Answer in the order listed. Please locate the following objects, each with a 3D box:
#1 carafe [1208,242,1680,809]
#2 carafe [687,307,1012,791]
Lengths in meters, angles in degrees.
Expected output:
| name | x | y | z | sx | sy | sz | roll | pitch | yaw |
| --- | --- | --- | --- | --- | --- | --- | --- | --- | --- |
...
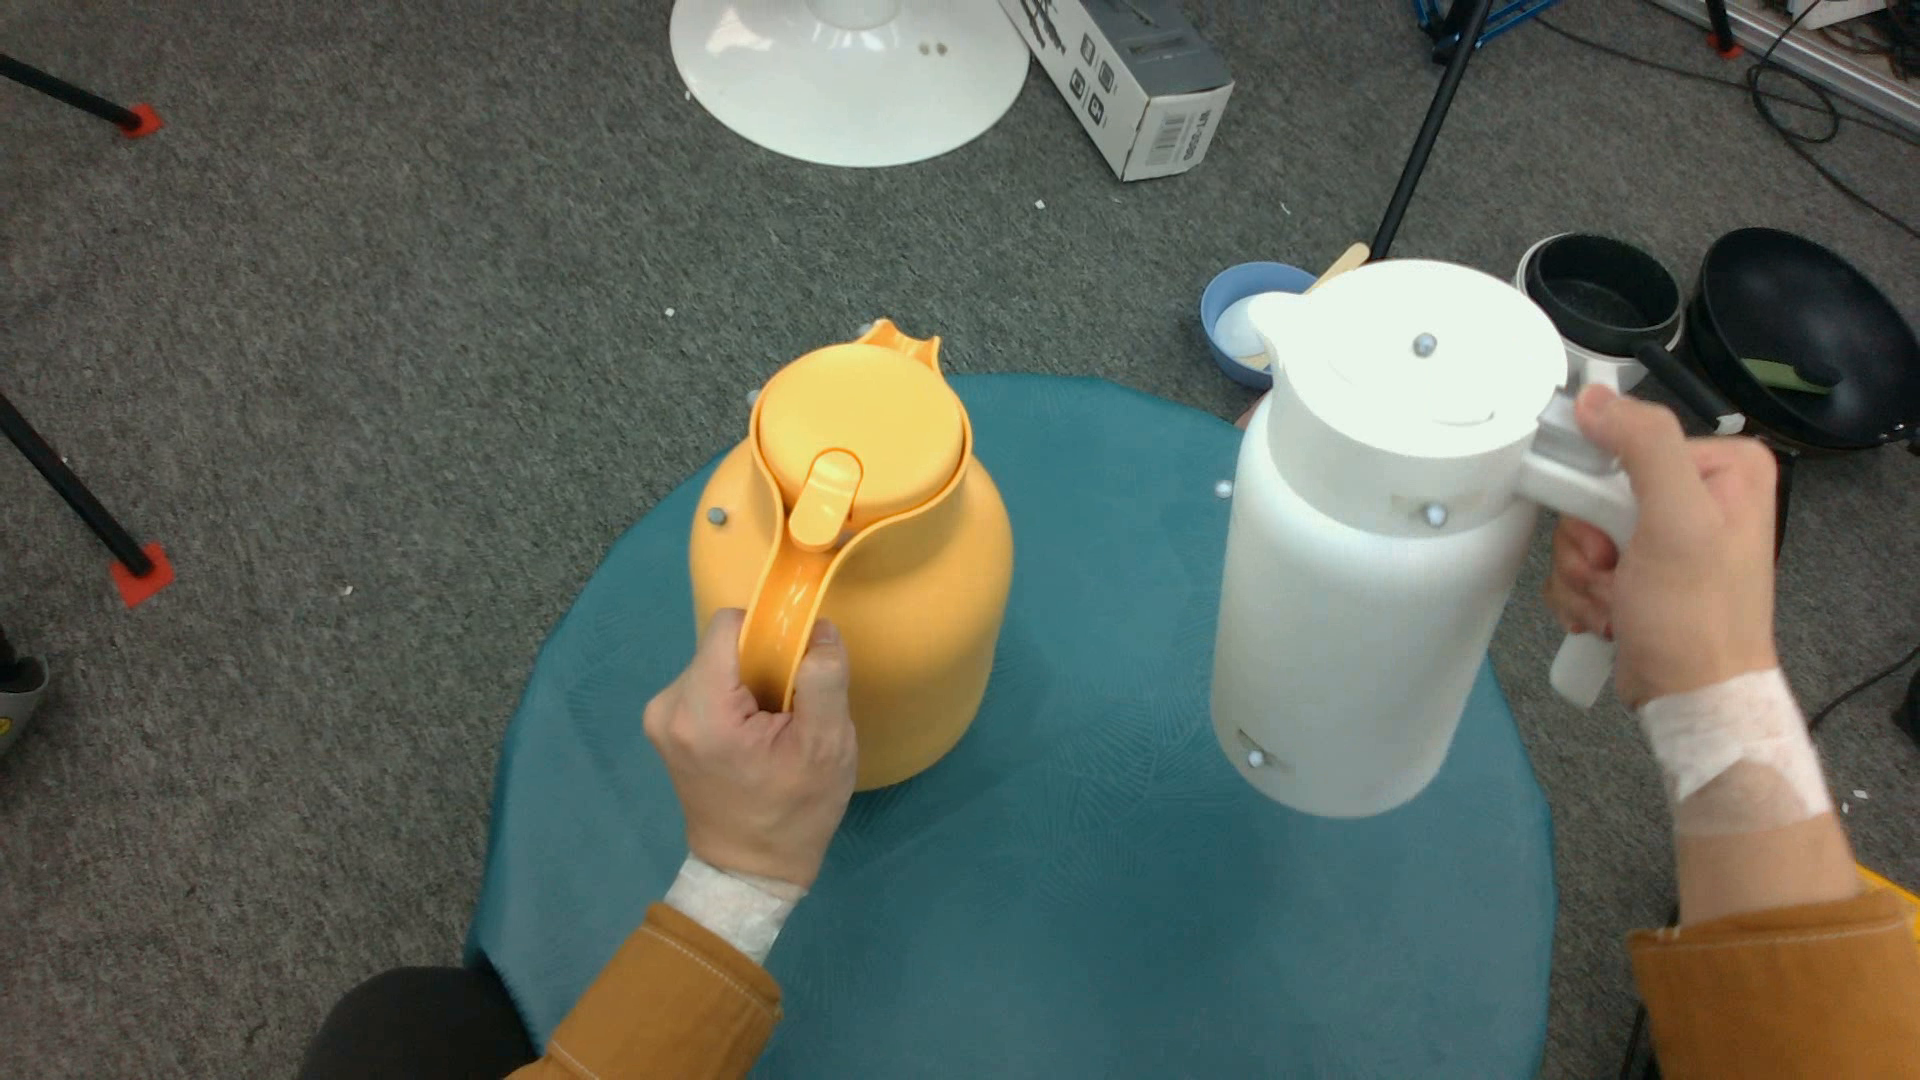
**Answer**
| name | x | y | z | sx | sy | sz | roll | pitch | yaw |
| --- | --- | --- | --- | --- | --- | --- | --- | --- | --- |
| carafe | 0.187 | 0.012 | 0.590 | 0.173 | 0.267 | 0.124 | 25 | 56 | 23 |
| carafe | -0.064 | 0.023 | 0.682 | 0.163 | 0.259 | 0.203 | 20 | 56 | 8 |
